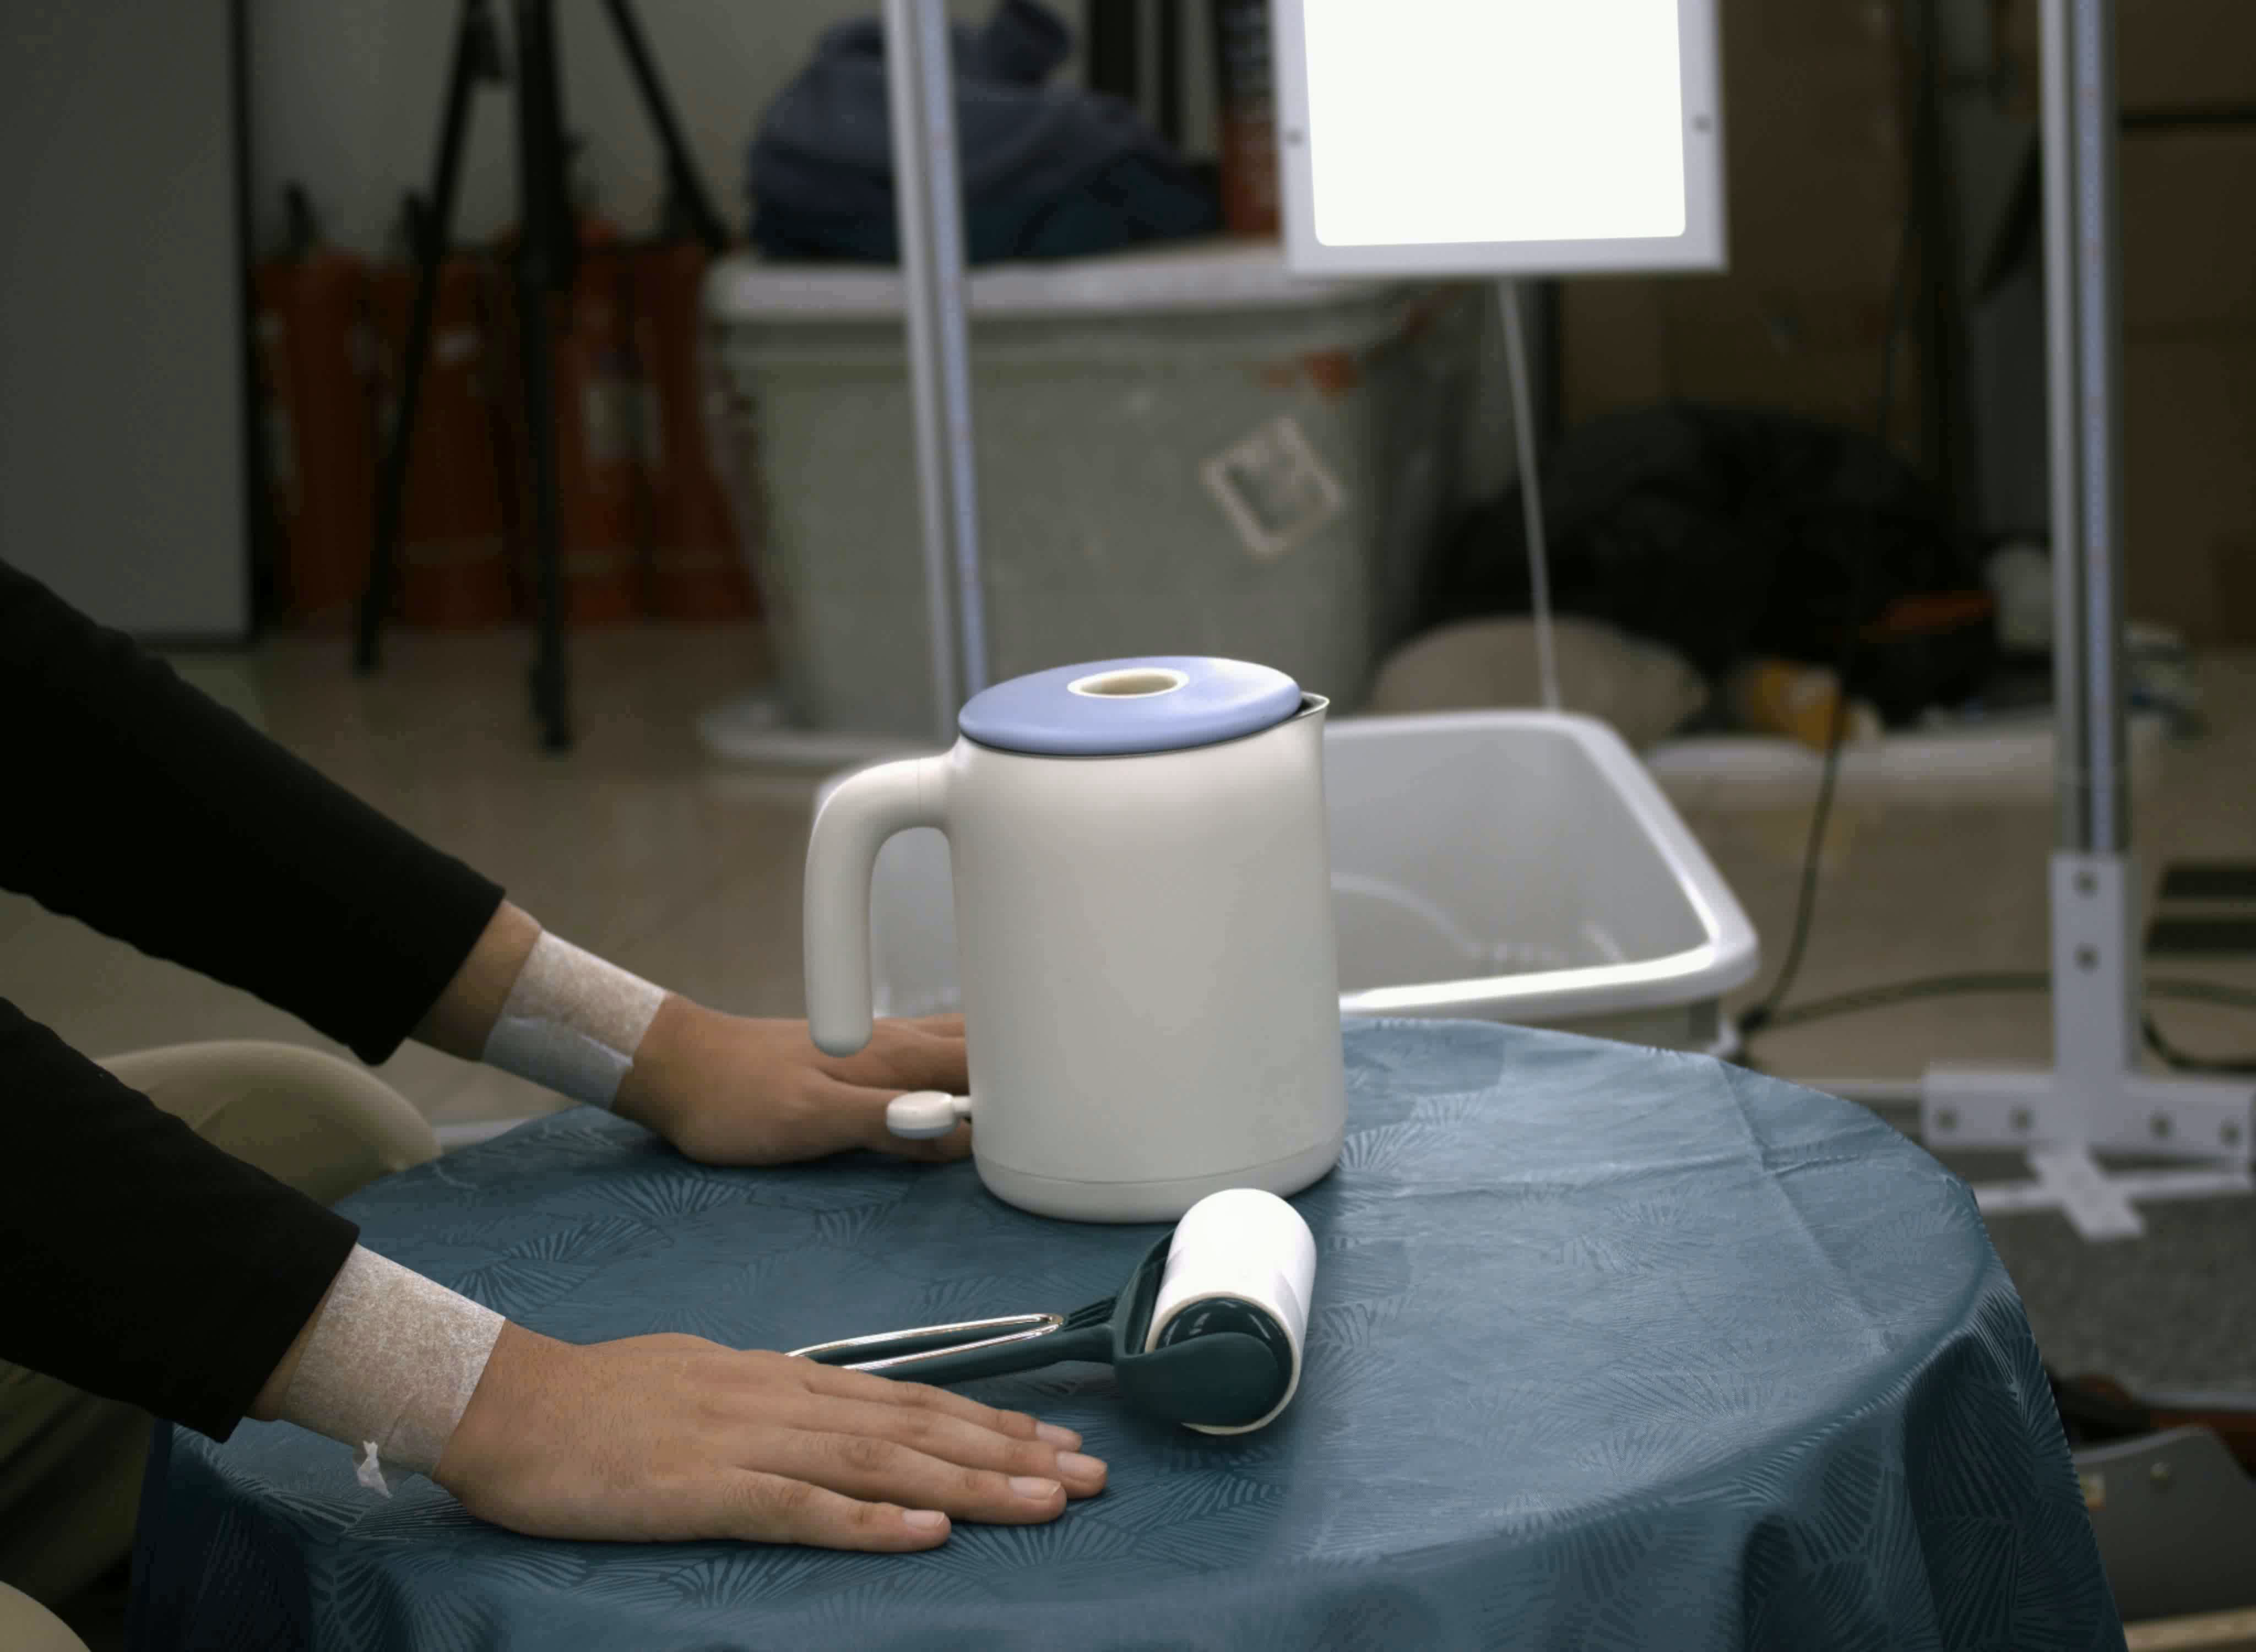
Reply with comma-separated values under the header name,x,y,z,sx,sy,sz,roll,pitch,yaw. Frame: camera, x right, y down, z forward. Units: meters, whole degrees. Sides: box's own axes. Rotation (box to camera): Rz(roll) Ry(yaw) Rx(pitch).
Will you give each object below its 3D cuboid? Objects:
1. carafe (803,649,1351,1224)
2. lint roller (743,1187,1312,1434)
name,x,y,z,sx,sy,sz,roll,pitch,yaw
carafe,-0.018,0.040,1.897,0.191,0.183,0.132,-6,13,3
lint roller,-0.034,0.155,1.706,0.181,0.048,0.133,-6,14,8
